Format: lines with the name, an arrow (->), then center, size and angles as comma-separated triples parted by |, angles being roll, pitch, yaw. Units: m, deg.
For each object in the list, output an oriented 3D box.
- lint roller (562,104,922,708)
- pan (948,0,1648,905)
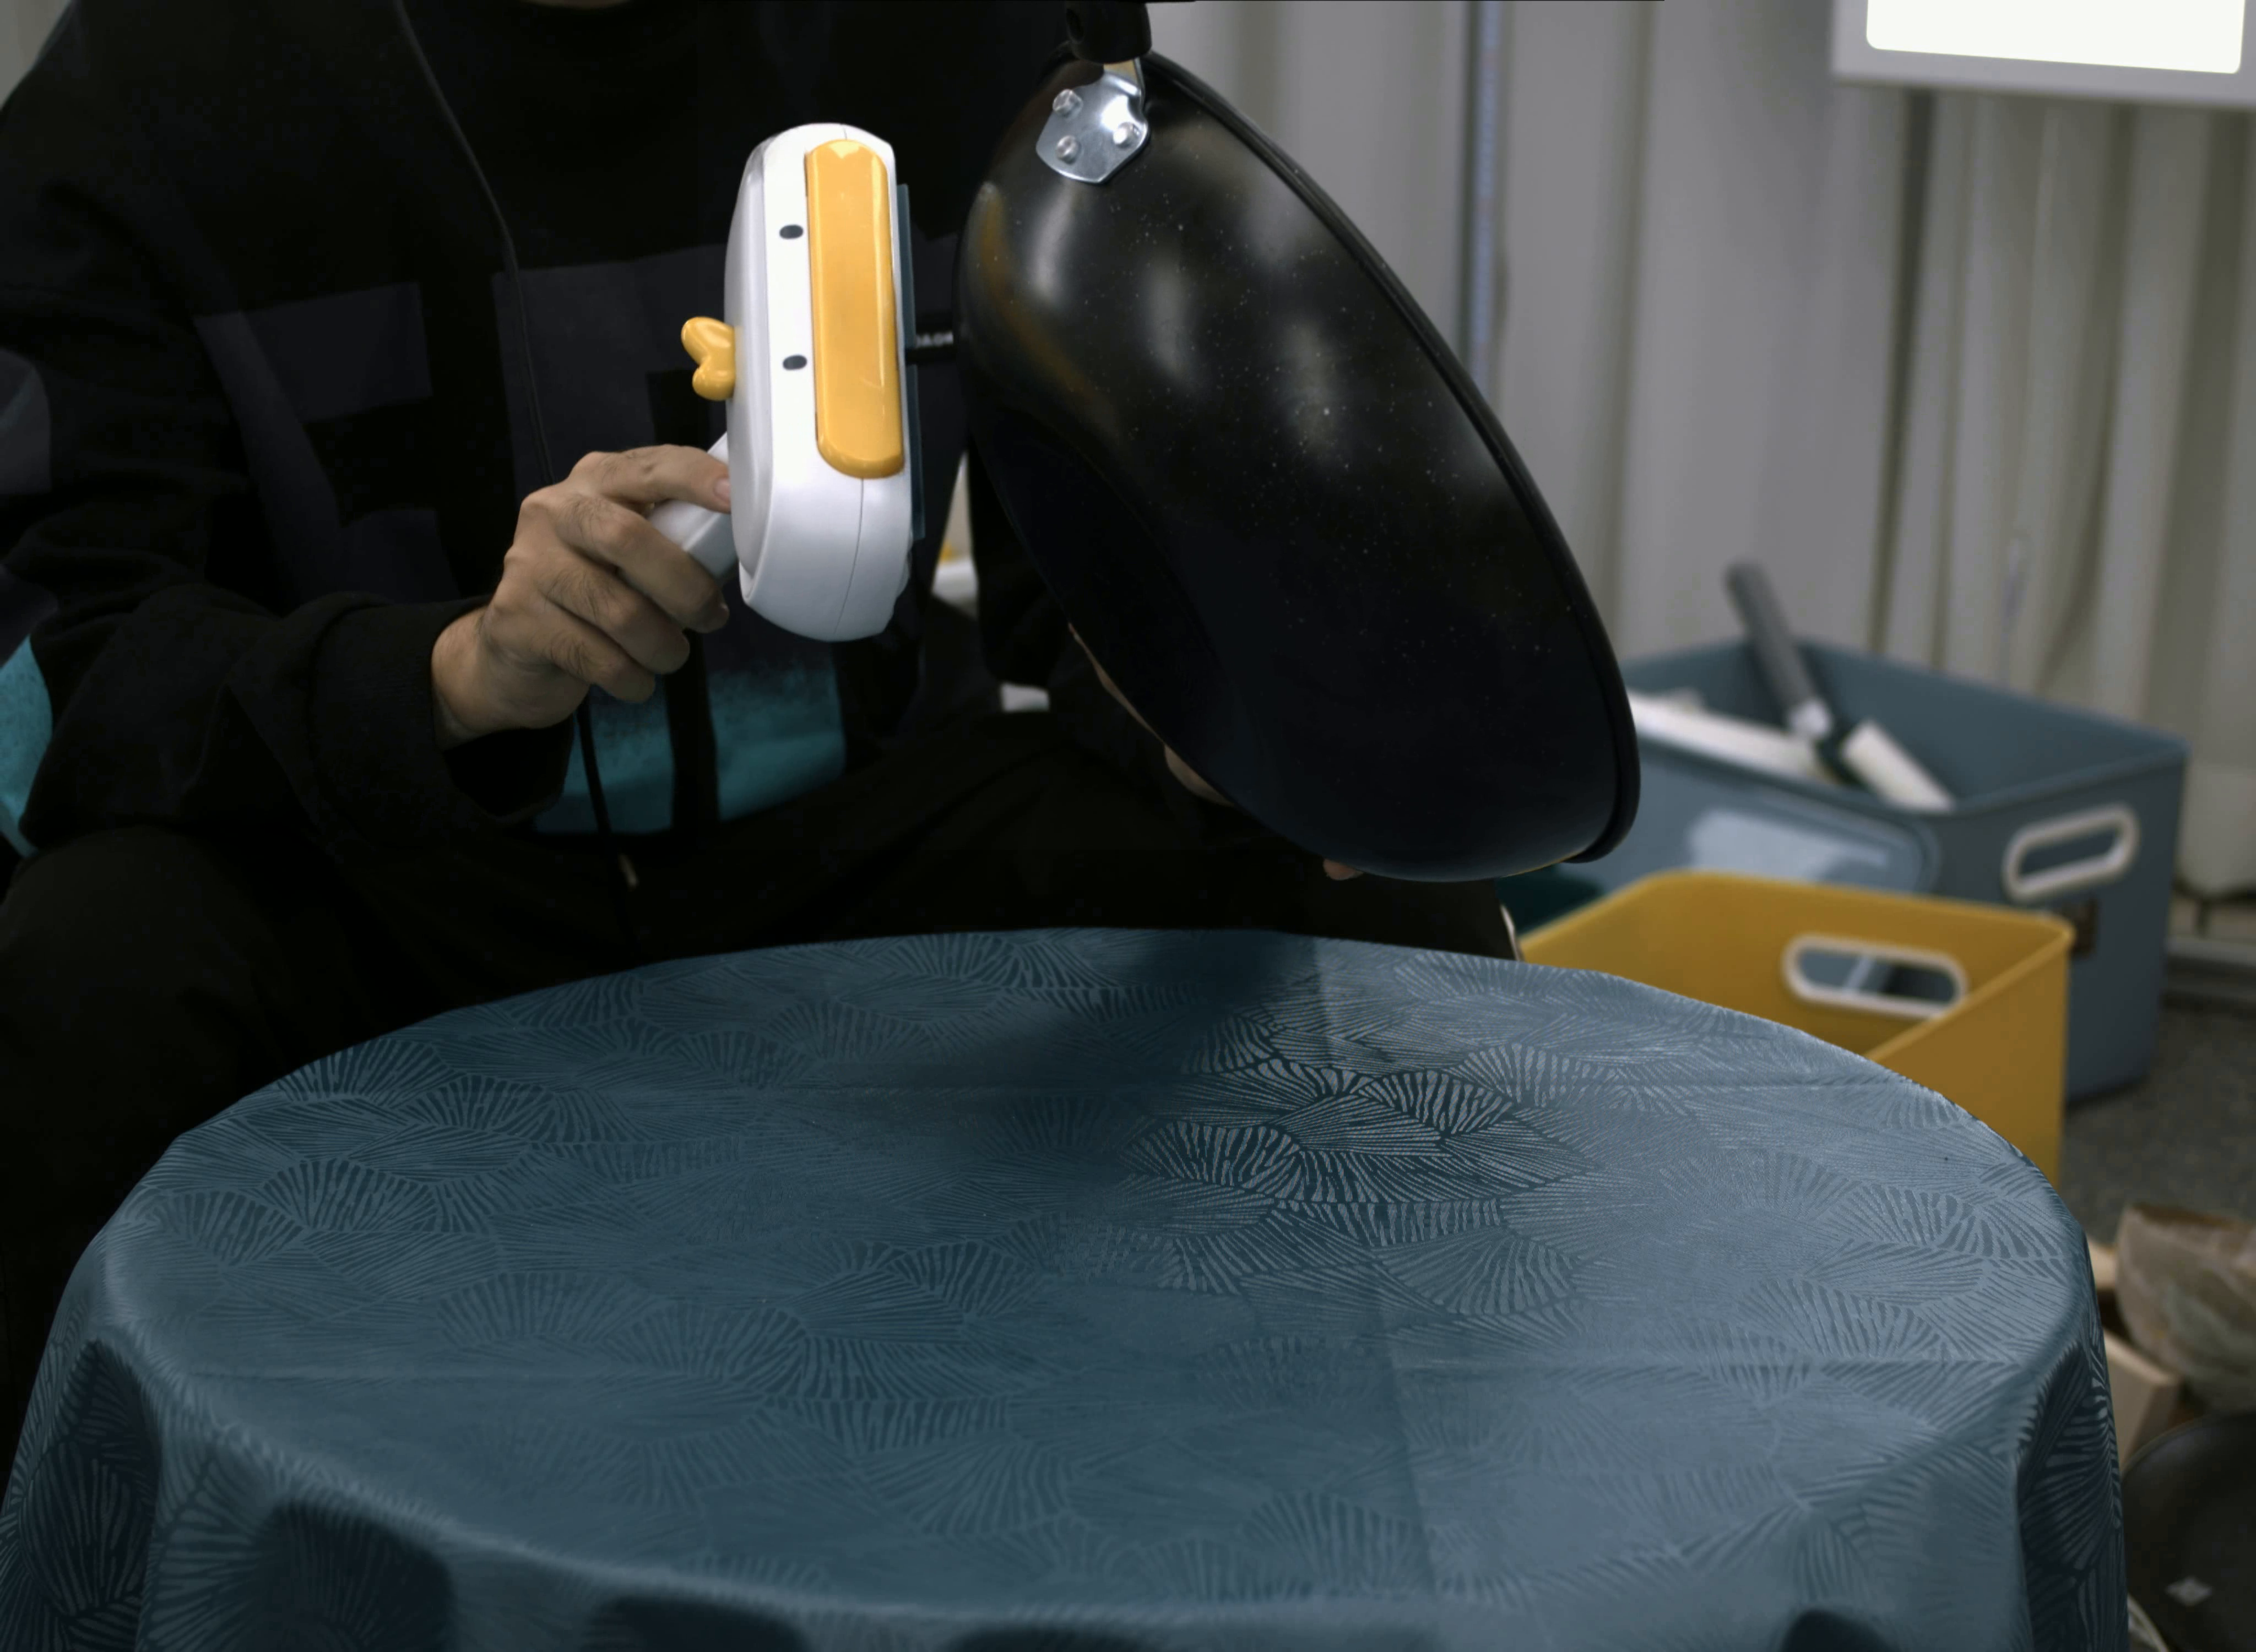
lint roller -> -0.127, -0.111, 1.699 | 0.074, 0.193, 0.191 | 8, 46, -23
pan -> 0.011, -0.160, 1.613 | 0.111, 0.483, 0.306 | -35, 35, -15
